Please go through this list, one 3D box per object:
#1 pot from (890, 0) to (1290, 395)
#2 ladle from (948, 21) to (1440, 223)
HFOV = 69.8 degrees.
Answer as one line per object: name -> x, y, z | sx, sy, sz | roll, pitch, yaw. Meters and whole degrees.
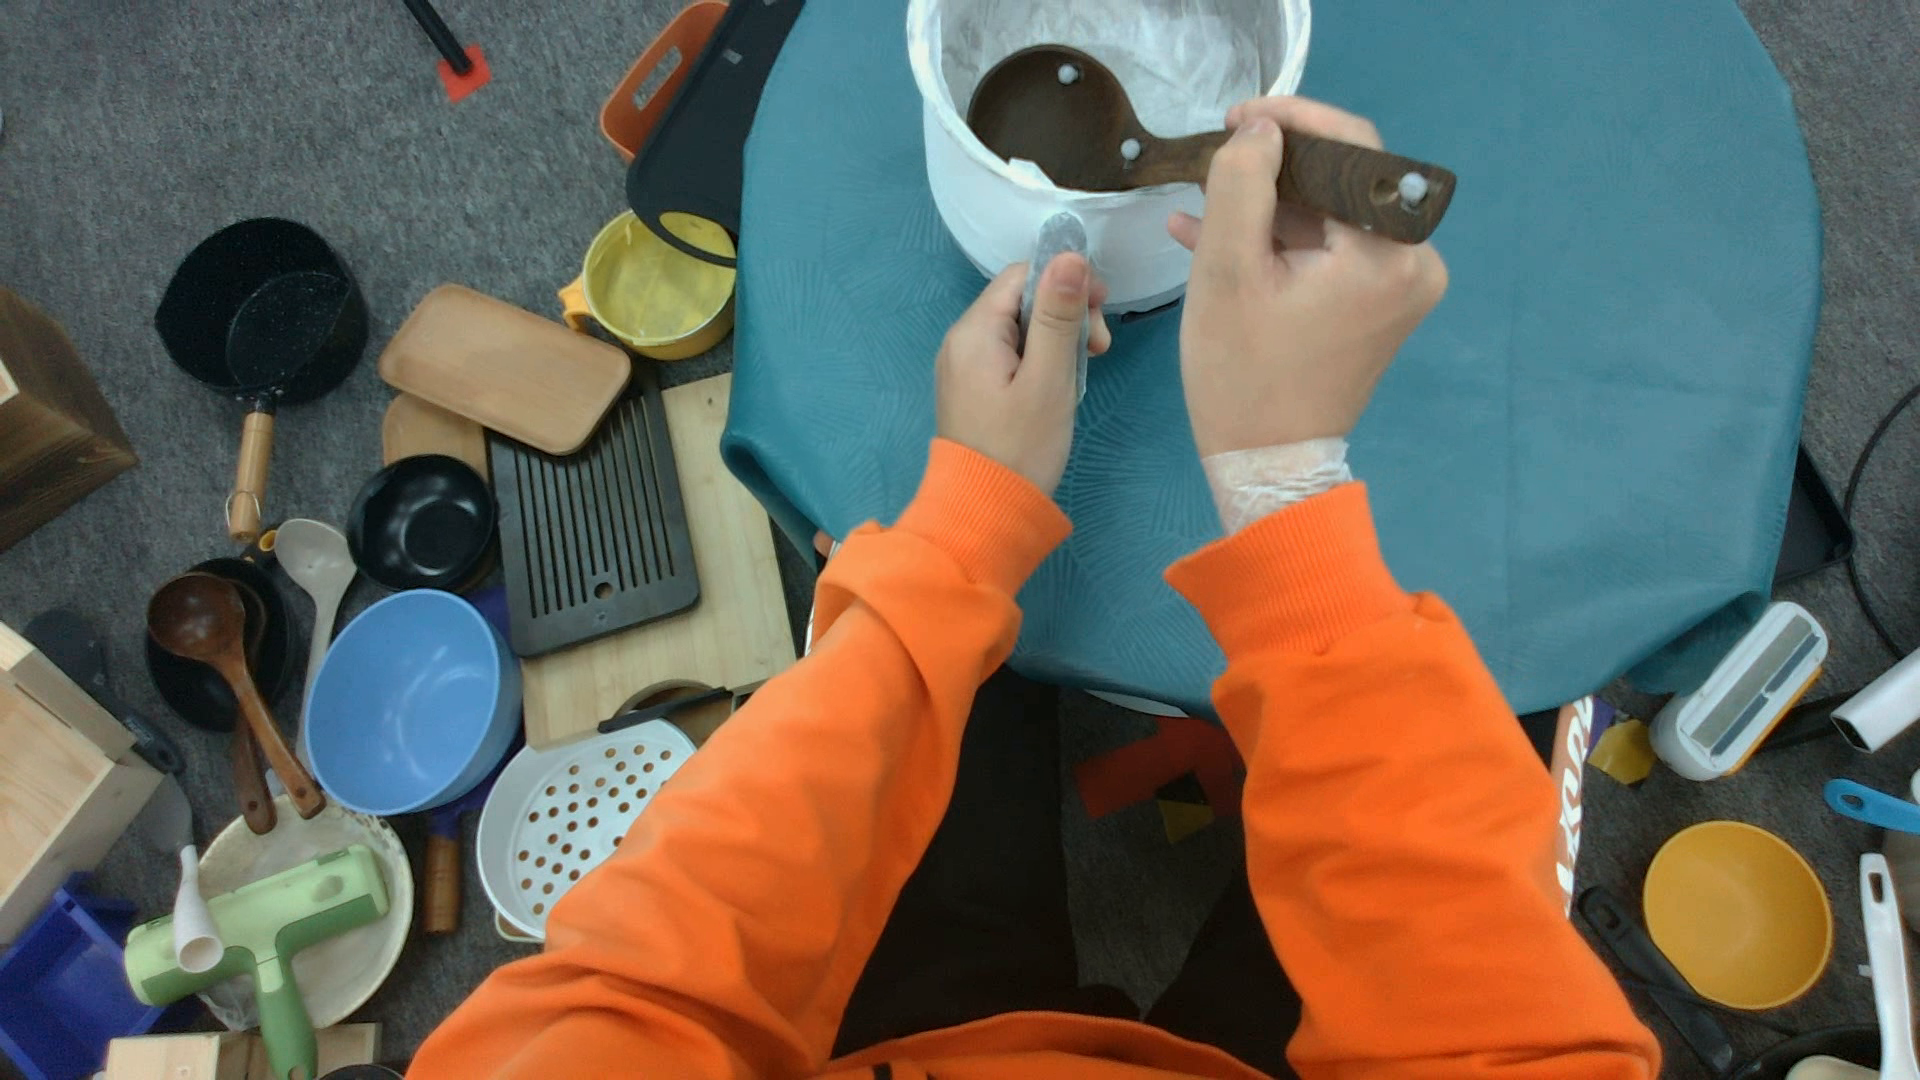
pot -> 0.056, -0.193, 0.664 | 0.178, 0.136, 0.234 | 8, 74, 6
ladle -> 0.071, -0.163, 0.534 | 0.071, 0.274, 0.076 | 23, 99, -26
